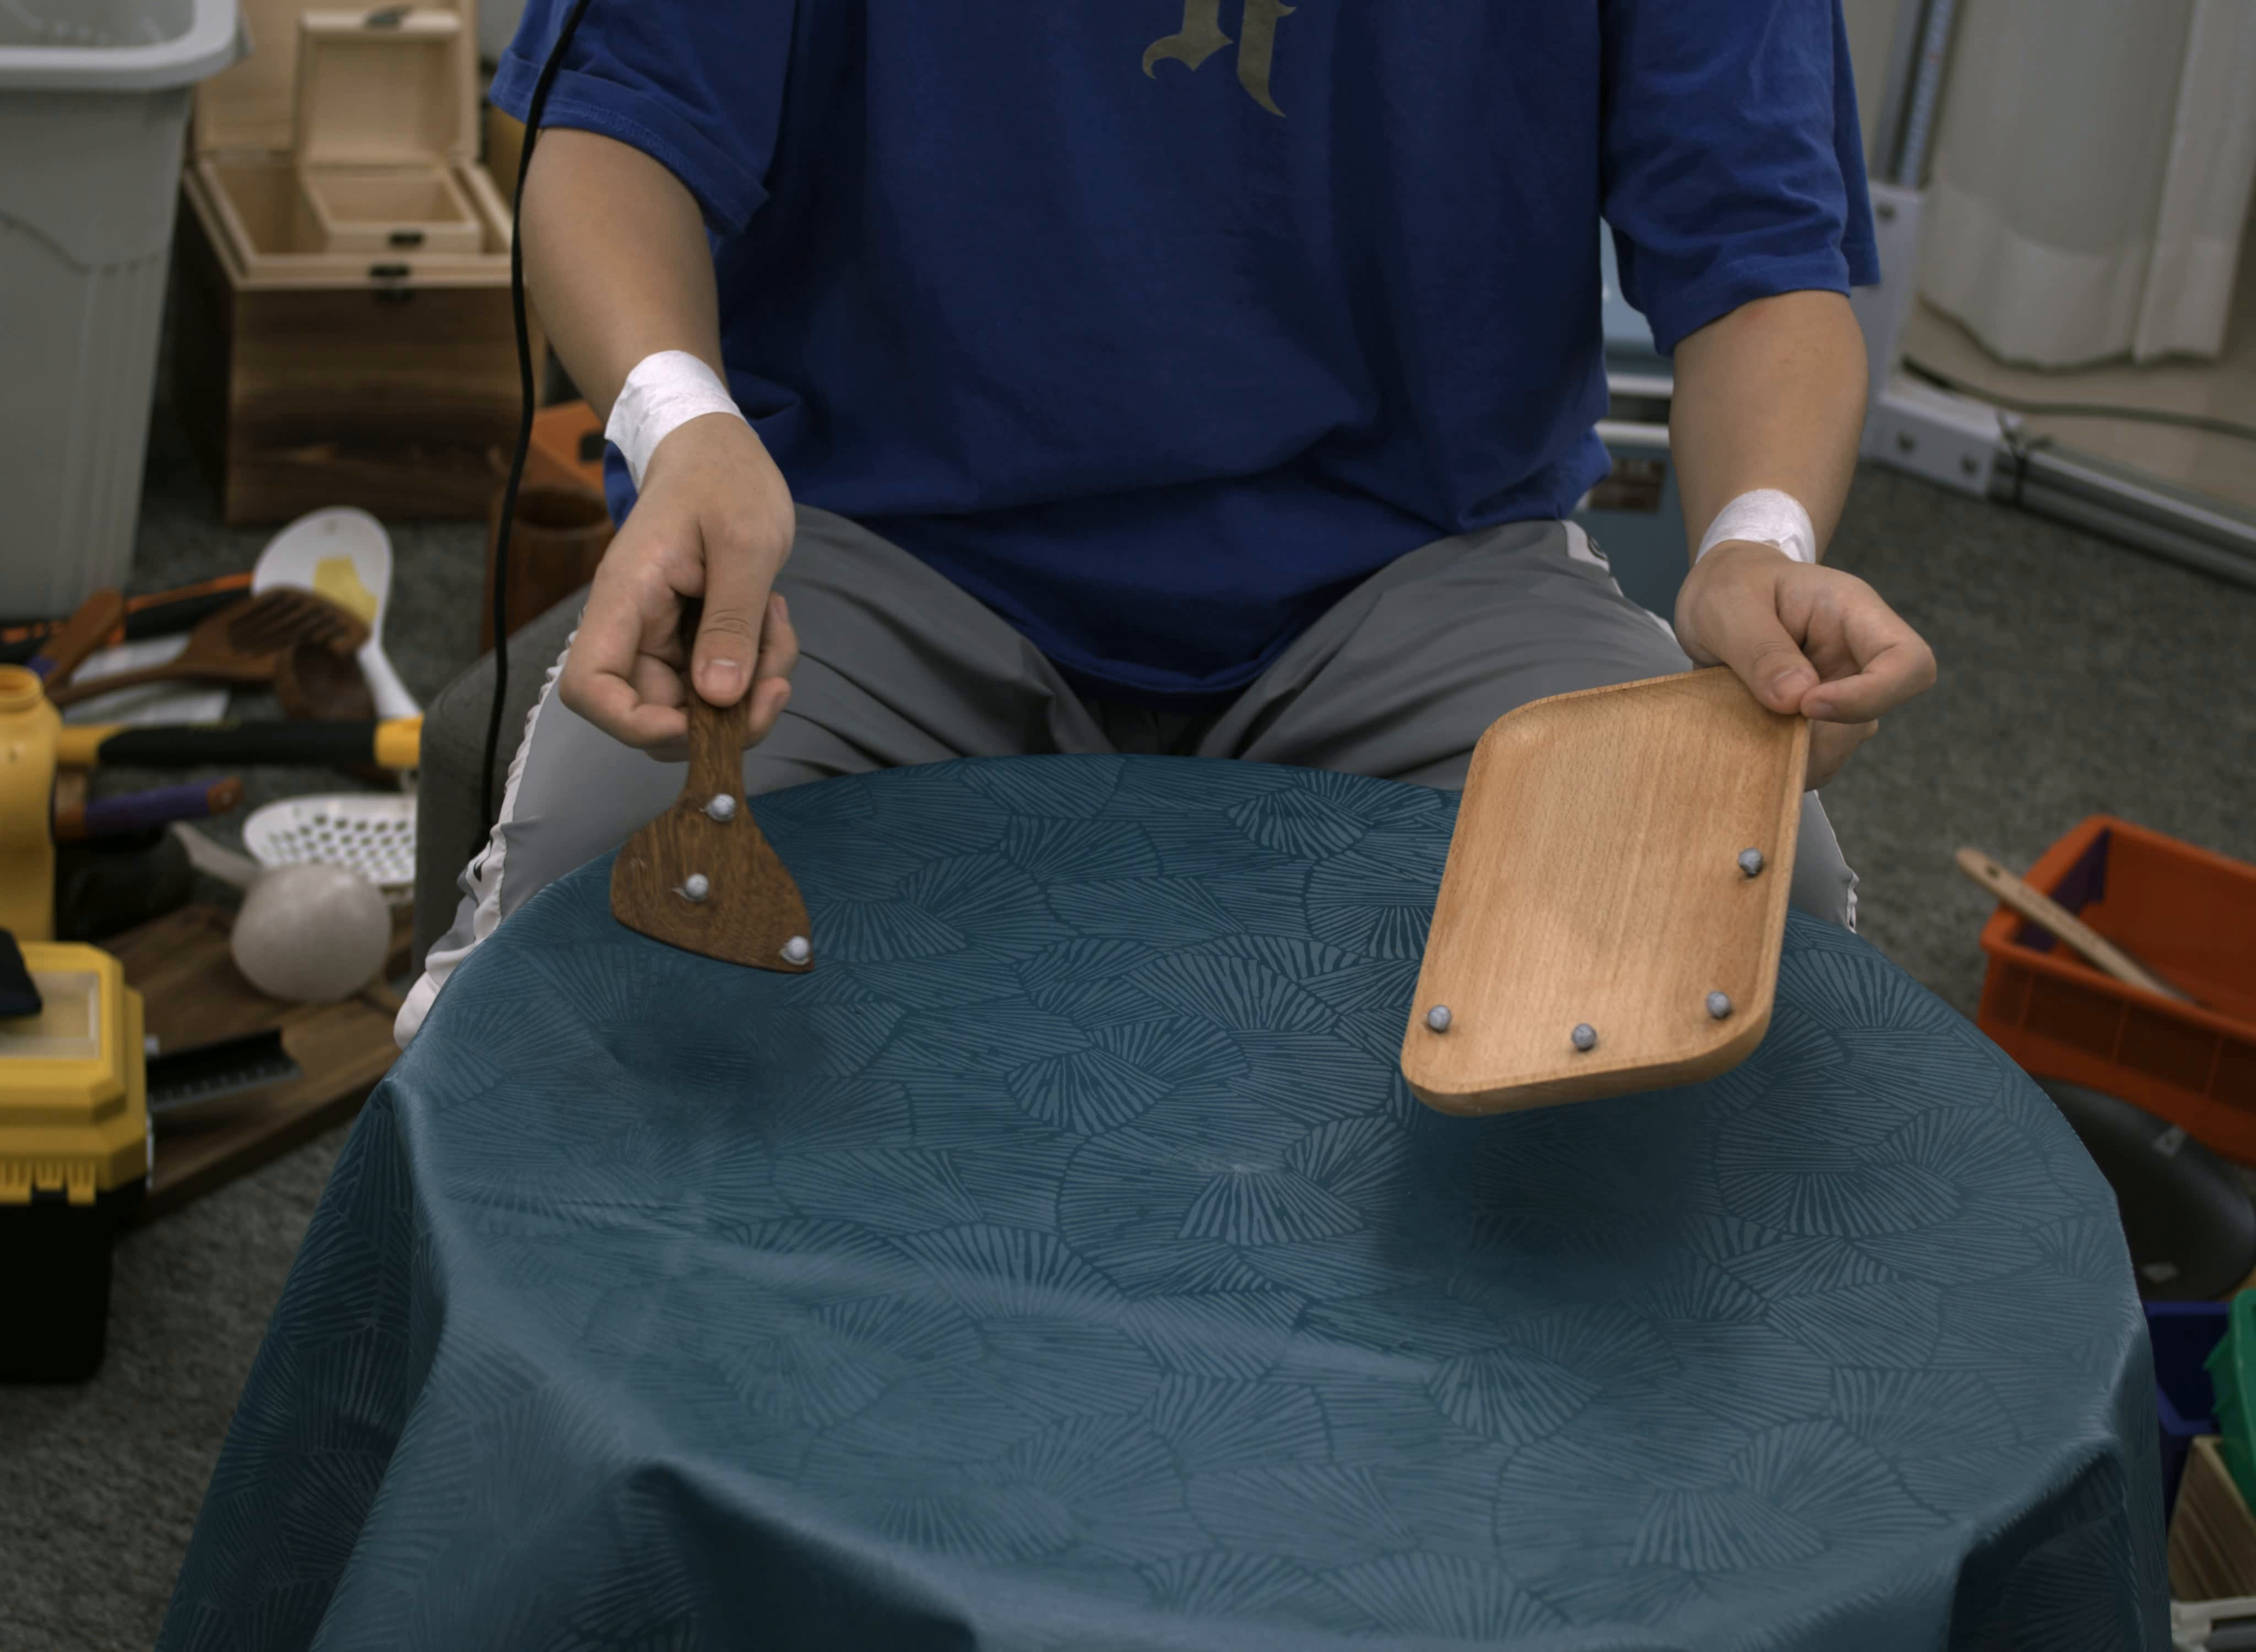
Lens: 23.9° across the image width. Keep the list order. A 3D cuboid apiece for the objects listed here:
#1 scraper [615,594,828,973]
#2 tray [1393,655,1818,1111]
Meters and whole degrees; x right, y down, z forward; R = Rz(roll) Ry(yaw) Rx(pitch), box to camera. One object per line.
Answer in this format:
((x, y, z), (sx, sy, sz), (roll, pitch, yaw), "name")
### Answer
((-0.142, -0.018, 1.883), (0.075, 0.011, 0.213), (14, 36, -13), "scraper")
((0.169, 0.018, 1.844), (0.130, 0.023, 0.252), (-7, 30, 18), "tray")
